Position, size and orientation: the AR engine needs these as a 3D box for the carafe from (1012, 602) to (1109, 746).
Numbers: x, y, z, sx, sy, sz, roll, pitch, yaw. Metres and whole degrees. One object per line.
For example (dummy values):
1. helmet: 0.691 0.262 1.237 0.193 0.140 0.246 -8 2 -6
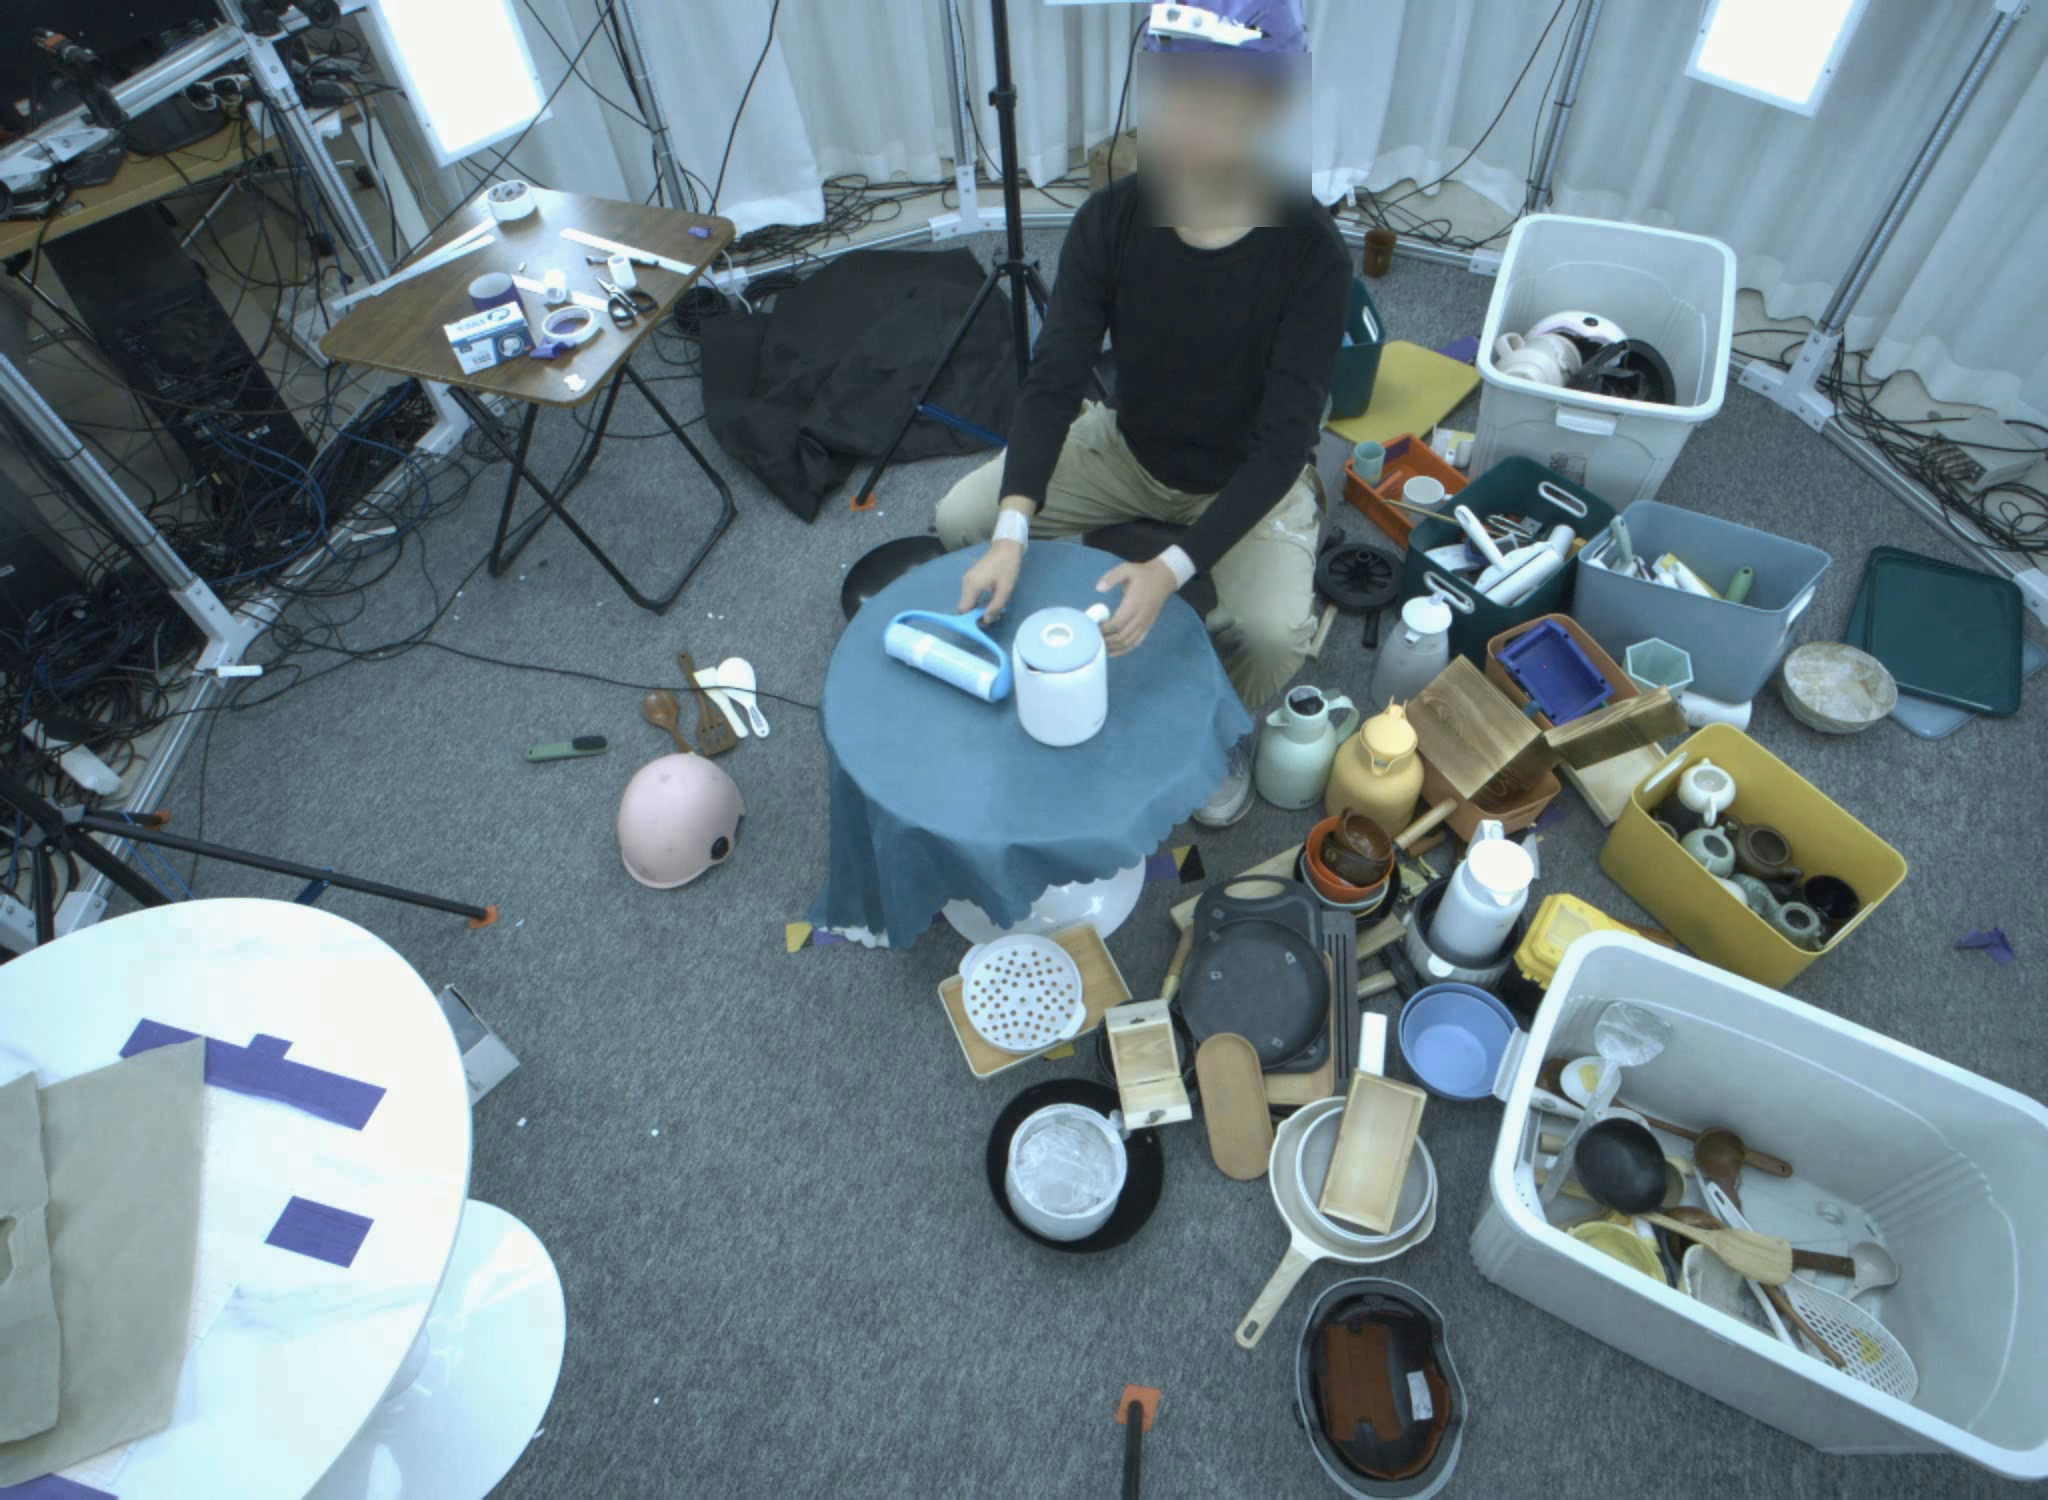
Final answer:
1. carafe: 0.066 -0.120 1.765 0.130 0.184 0.192 29 59 21

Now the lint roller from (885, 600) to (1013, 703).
1. lint roller: -0.087 -0.178 1.879 0.225 0.069 0.180 23 65 21
